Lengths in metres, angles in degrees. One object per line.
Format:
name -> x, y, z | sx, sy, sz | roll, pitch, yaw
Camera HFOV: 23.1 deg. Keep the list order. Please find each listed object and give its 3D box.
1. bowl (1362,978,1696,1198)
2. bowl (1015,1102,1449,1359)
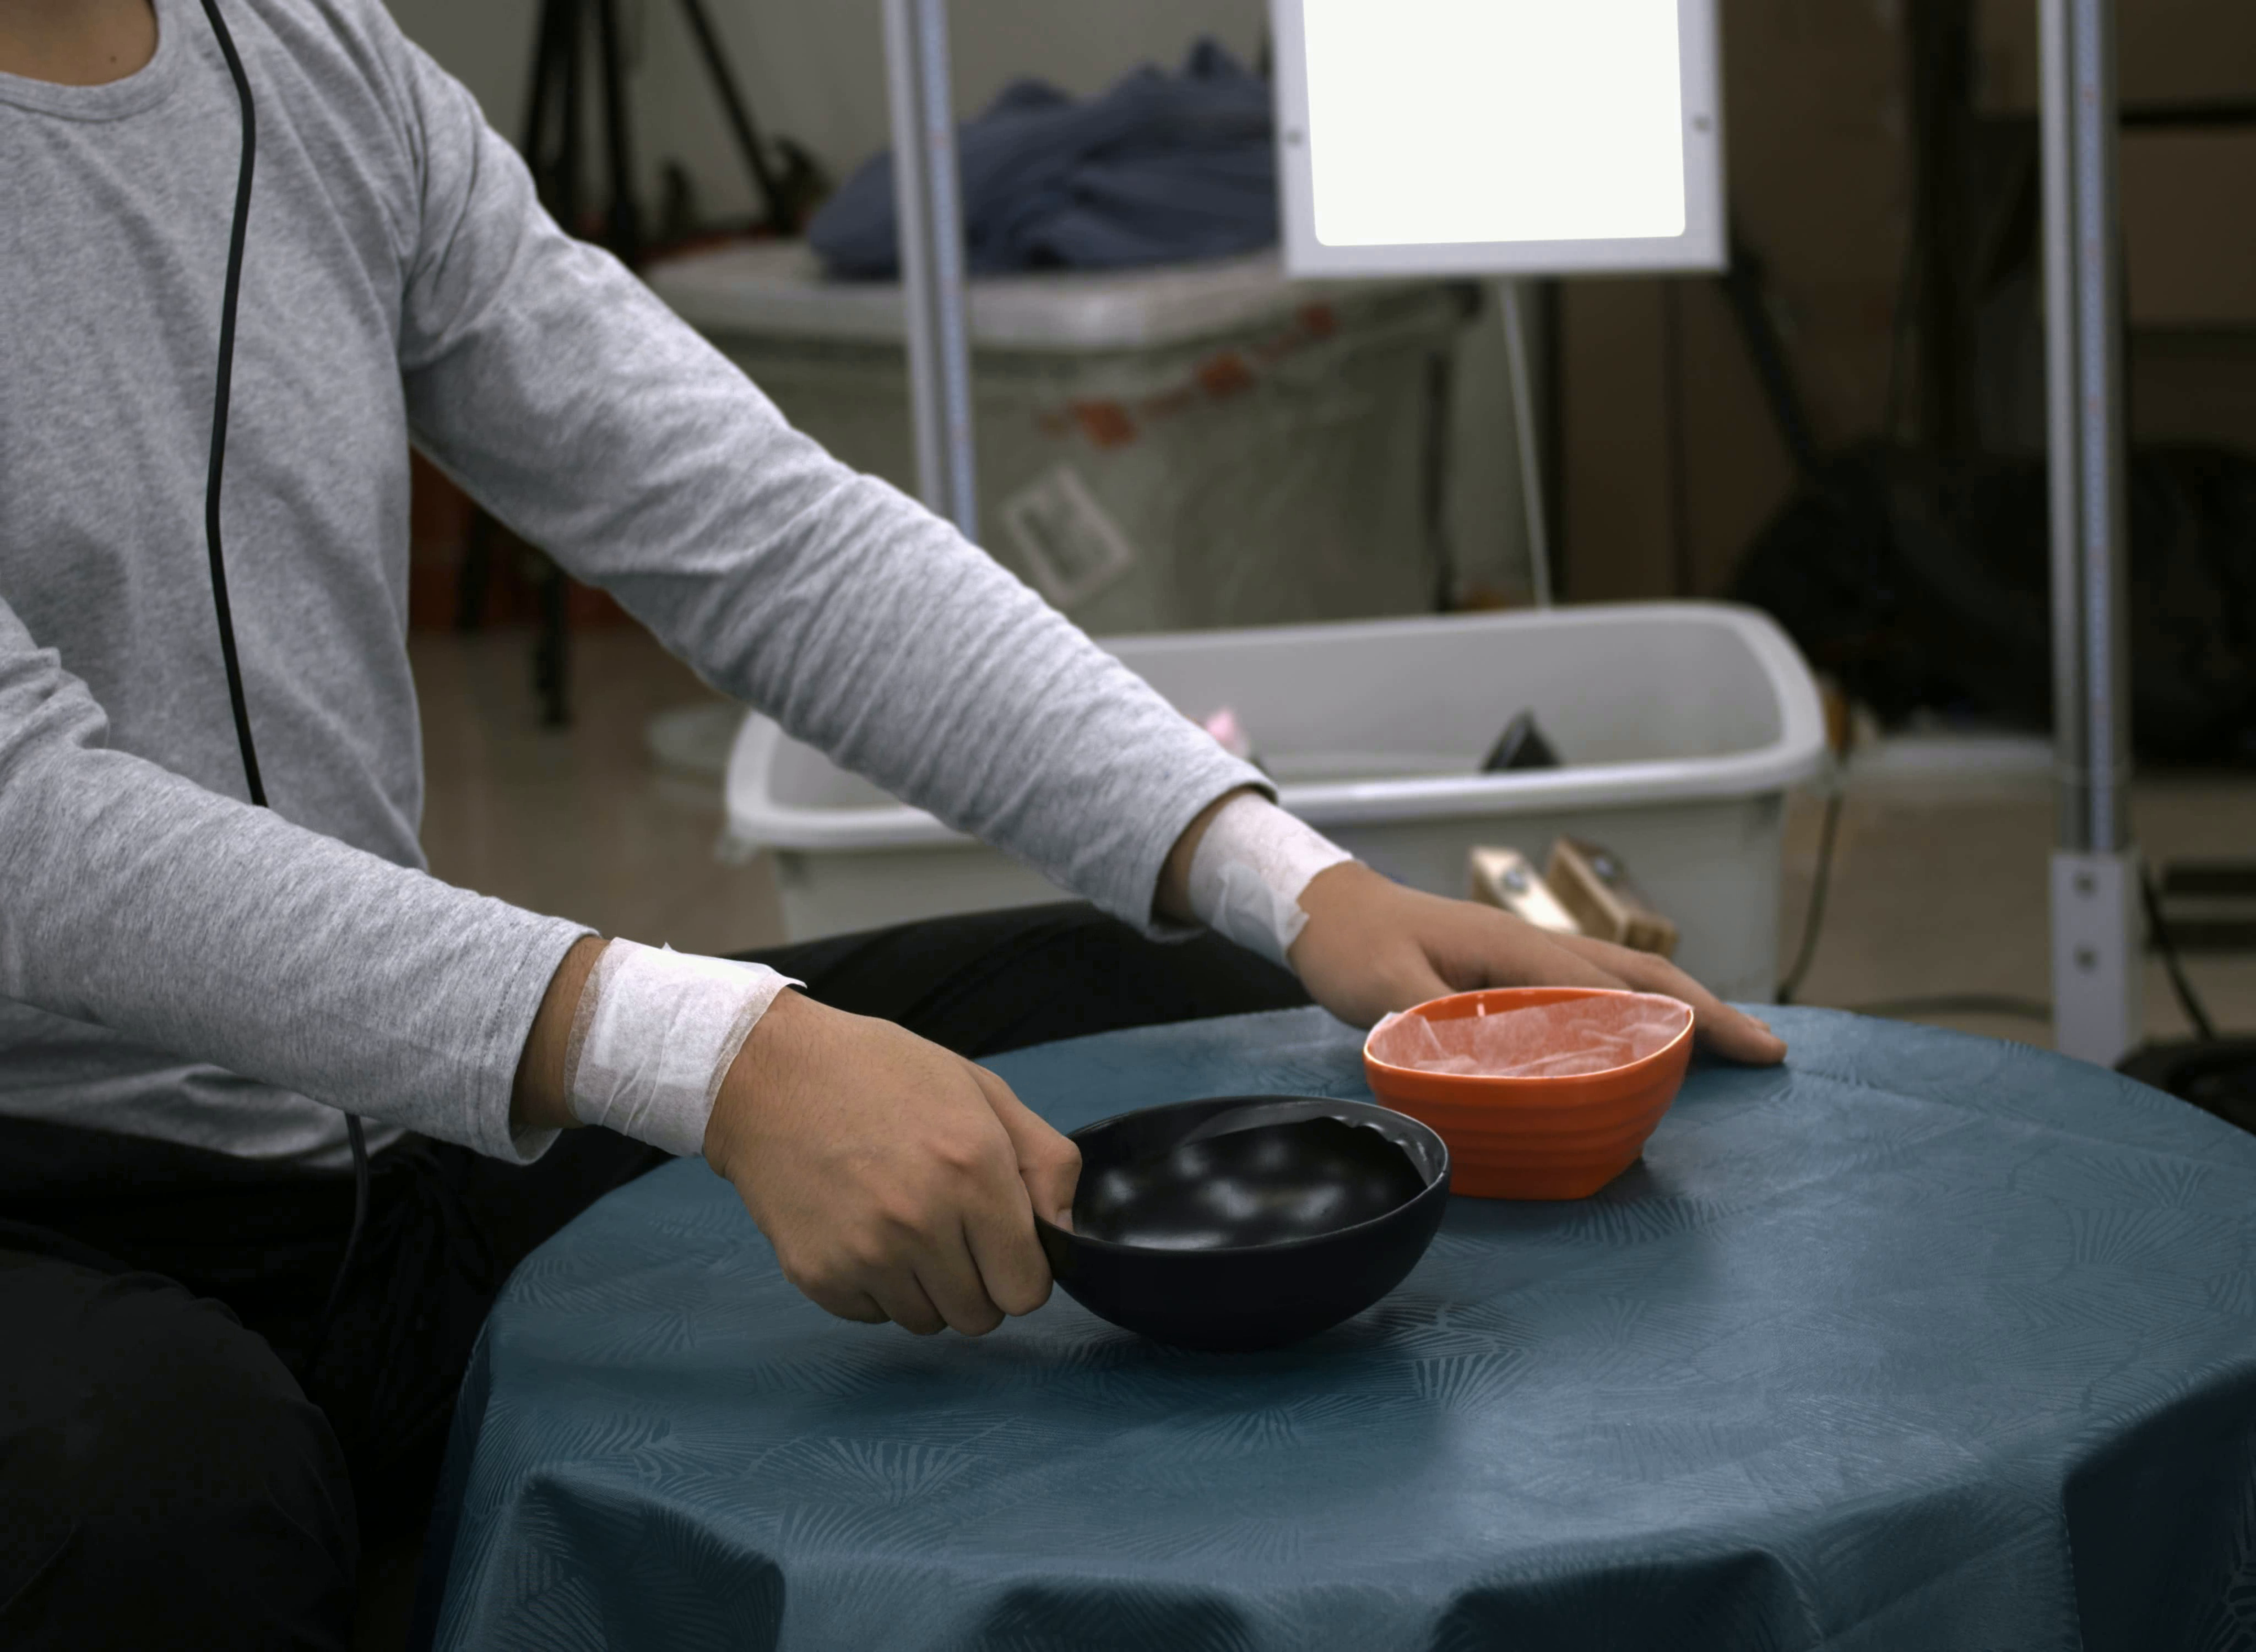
bowl -> 0.139, 0.092, 1.881 | 0.118, 0.051, 0.119 | -4, 16, 0
bowl -> 0.035, 0.133, 1.749 | 0.140, 0.050, 0.140 | -7, 16, 1
